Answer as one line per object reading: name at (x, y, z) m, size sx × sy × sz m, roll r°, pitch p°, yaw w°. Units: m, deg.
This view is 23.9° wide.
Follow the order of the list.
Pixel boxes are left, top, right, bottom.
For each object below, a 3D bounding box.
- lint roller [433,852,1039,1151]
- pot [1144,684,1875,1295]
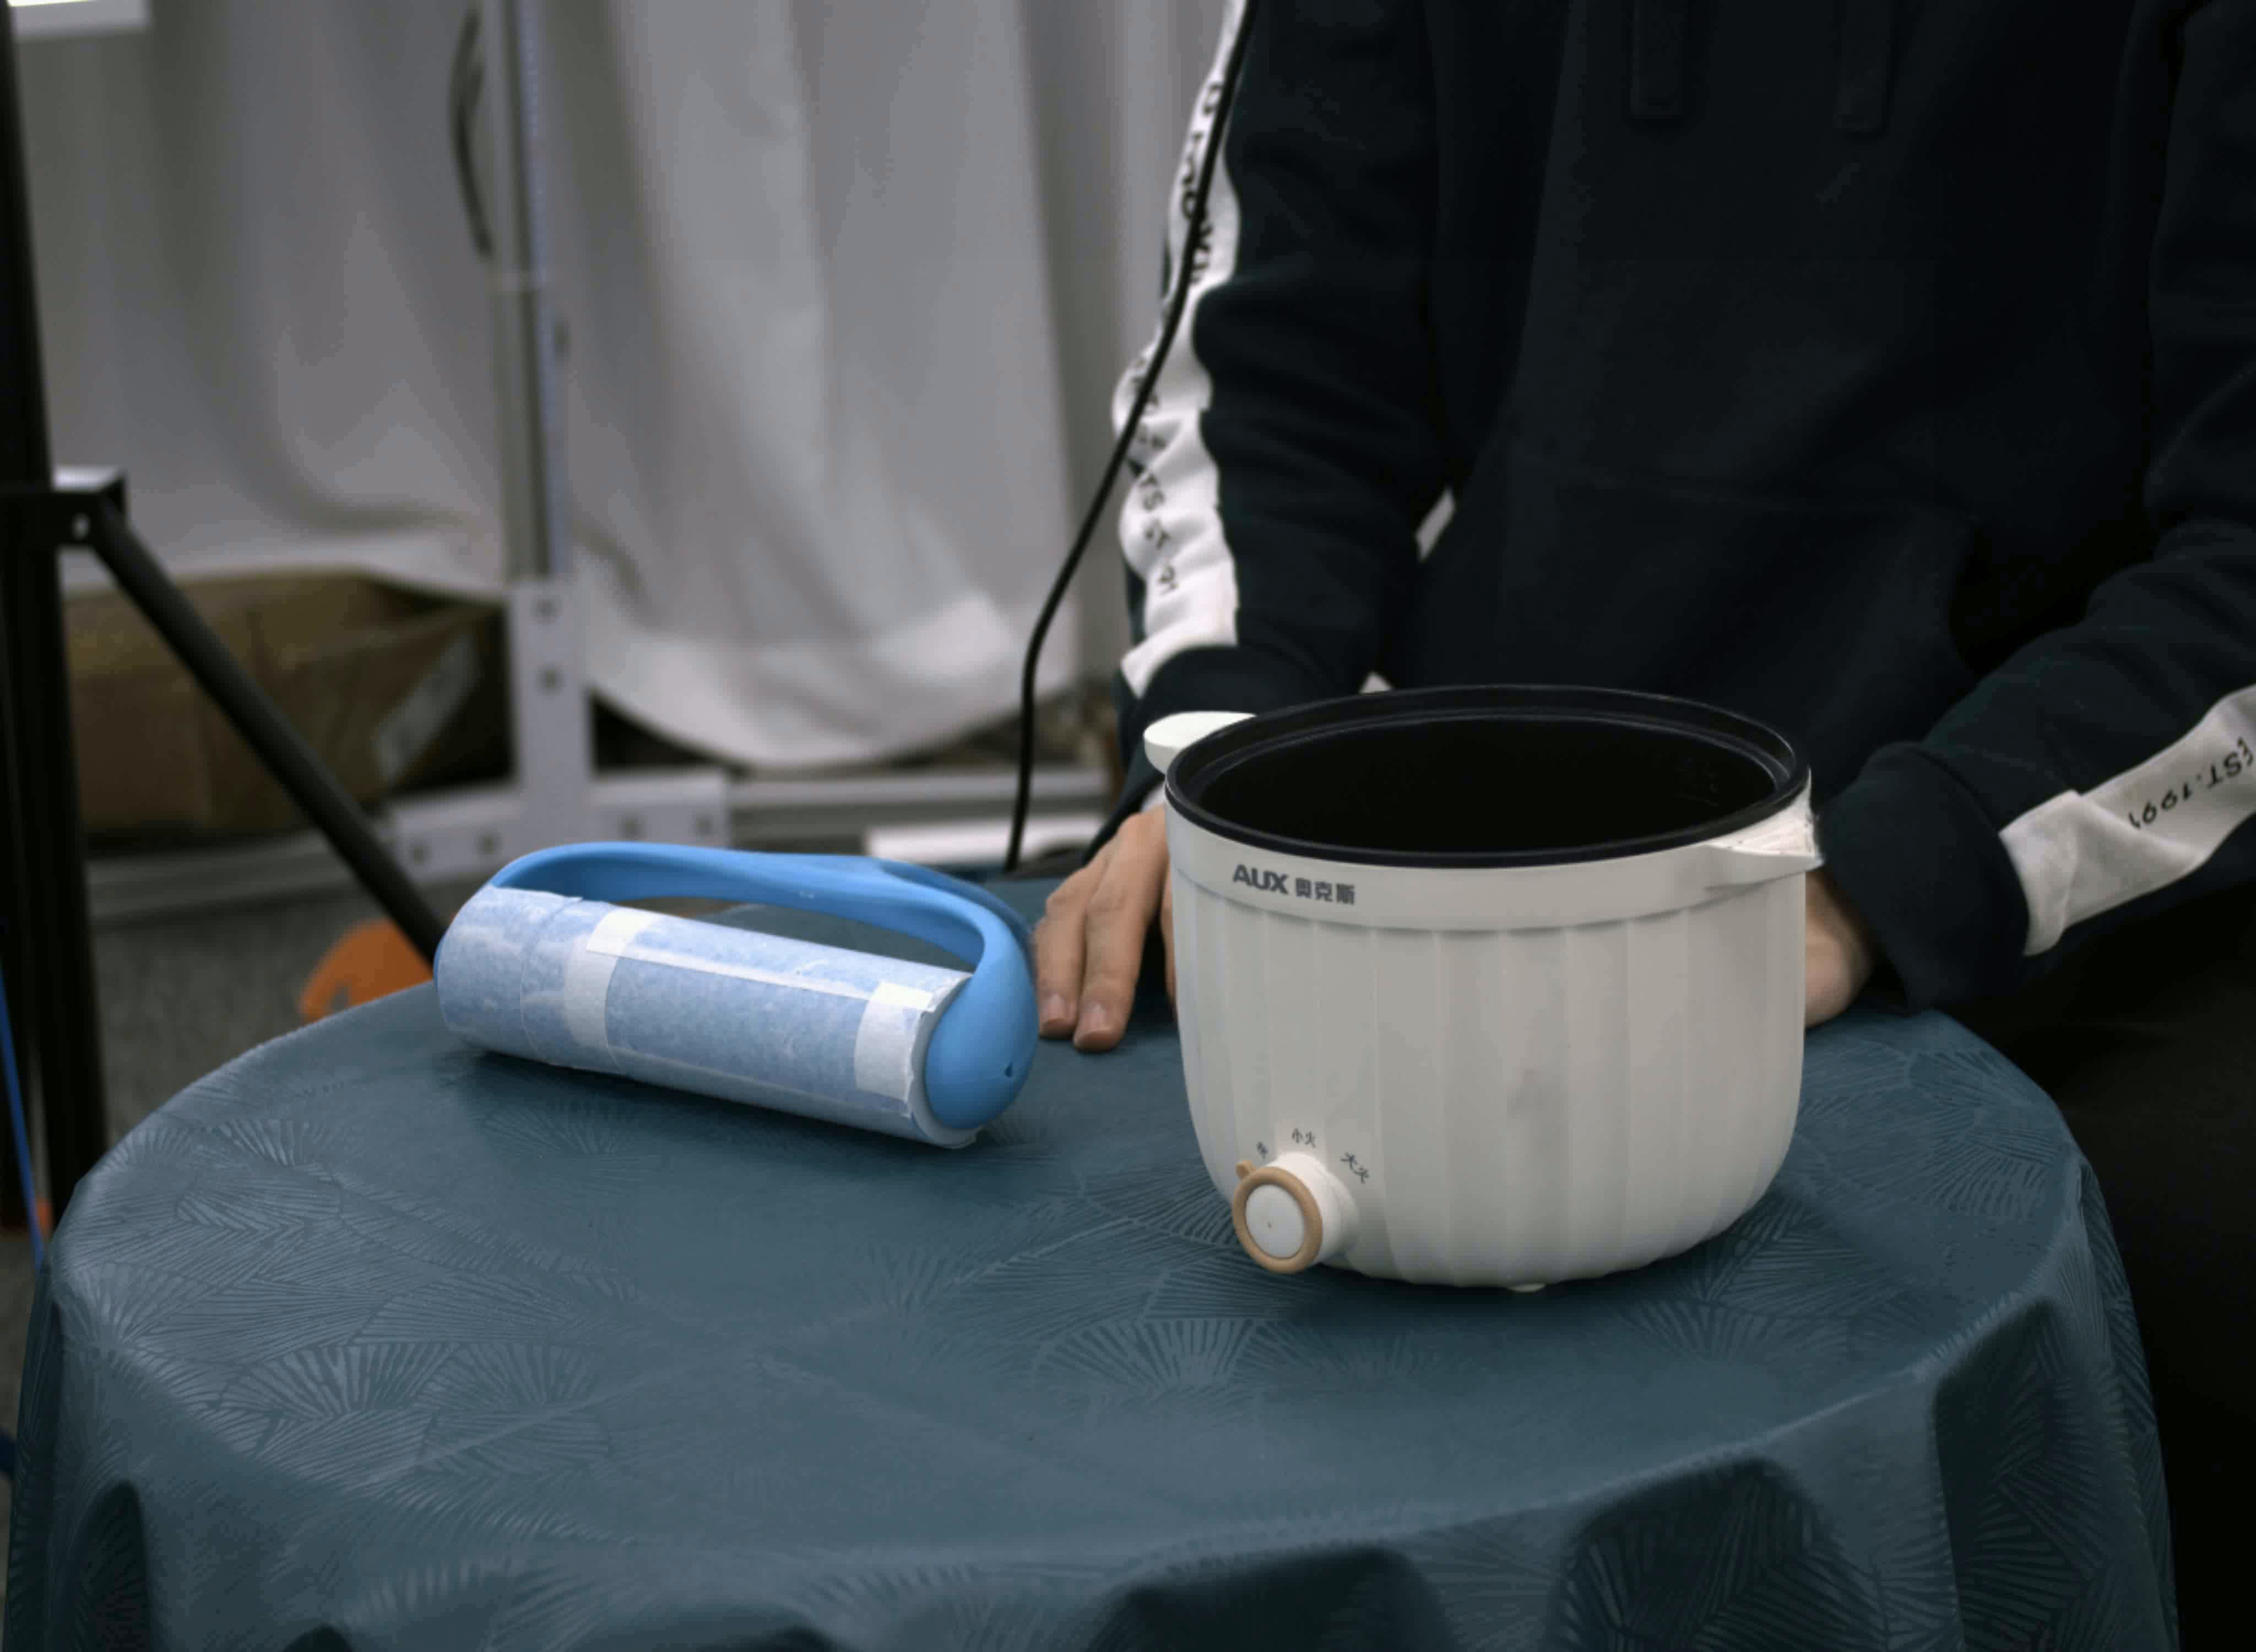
lint roller at (-0.094, 0.043, 1.702) m, size 0.233 × 0.068 × 0.177 m, roll 6°, pitch 19°, yaw 35°
pot at (0.101, 0.049, 1.496) m, size 0.245 × 0.143 × 0.186 m, roll 9°, pitch 16°, yaw 40°
